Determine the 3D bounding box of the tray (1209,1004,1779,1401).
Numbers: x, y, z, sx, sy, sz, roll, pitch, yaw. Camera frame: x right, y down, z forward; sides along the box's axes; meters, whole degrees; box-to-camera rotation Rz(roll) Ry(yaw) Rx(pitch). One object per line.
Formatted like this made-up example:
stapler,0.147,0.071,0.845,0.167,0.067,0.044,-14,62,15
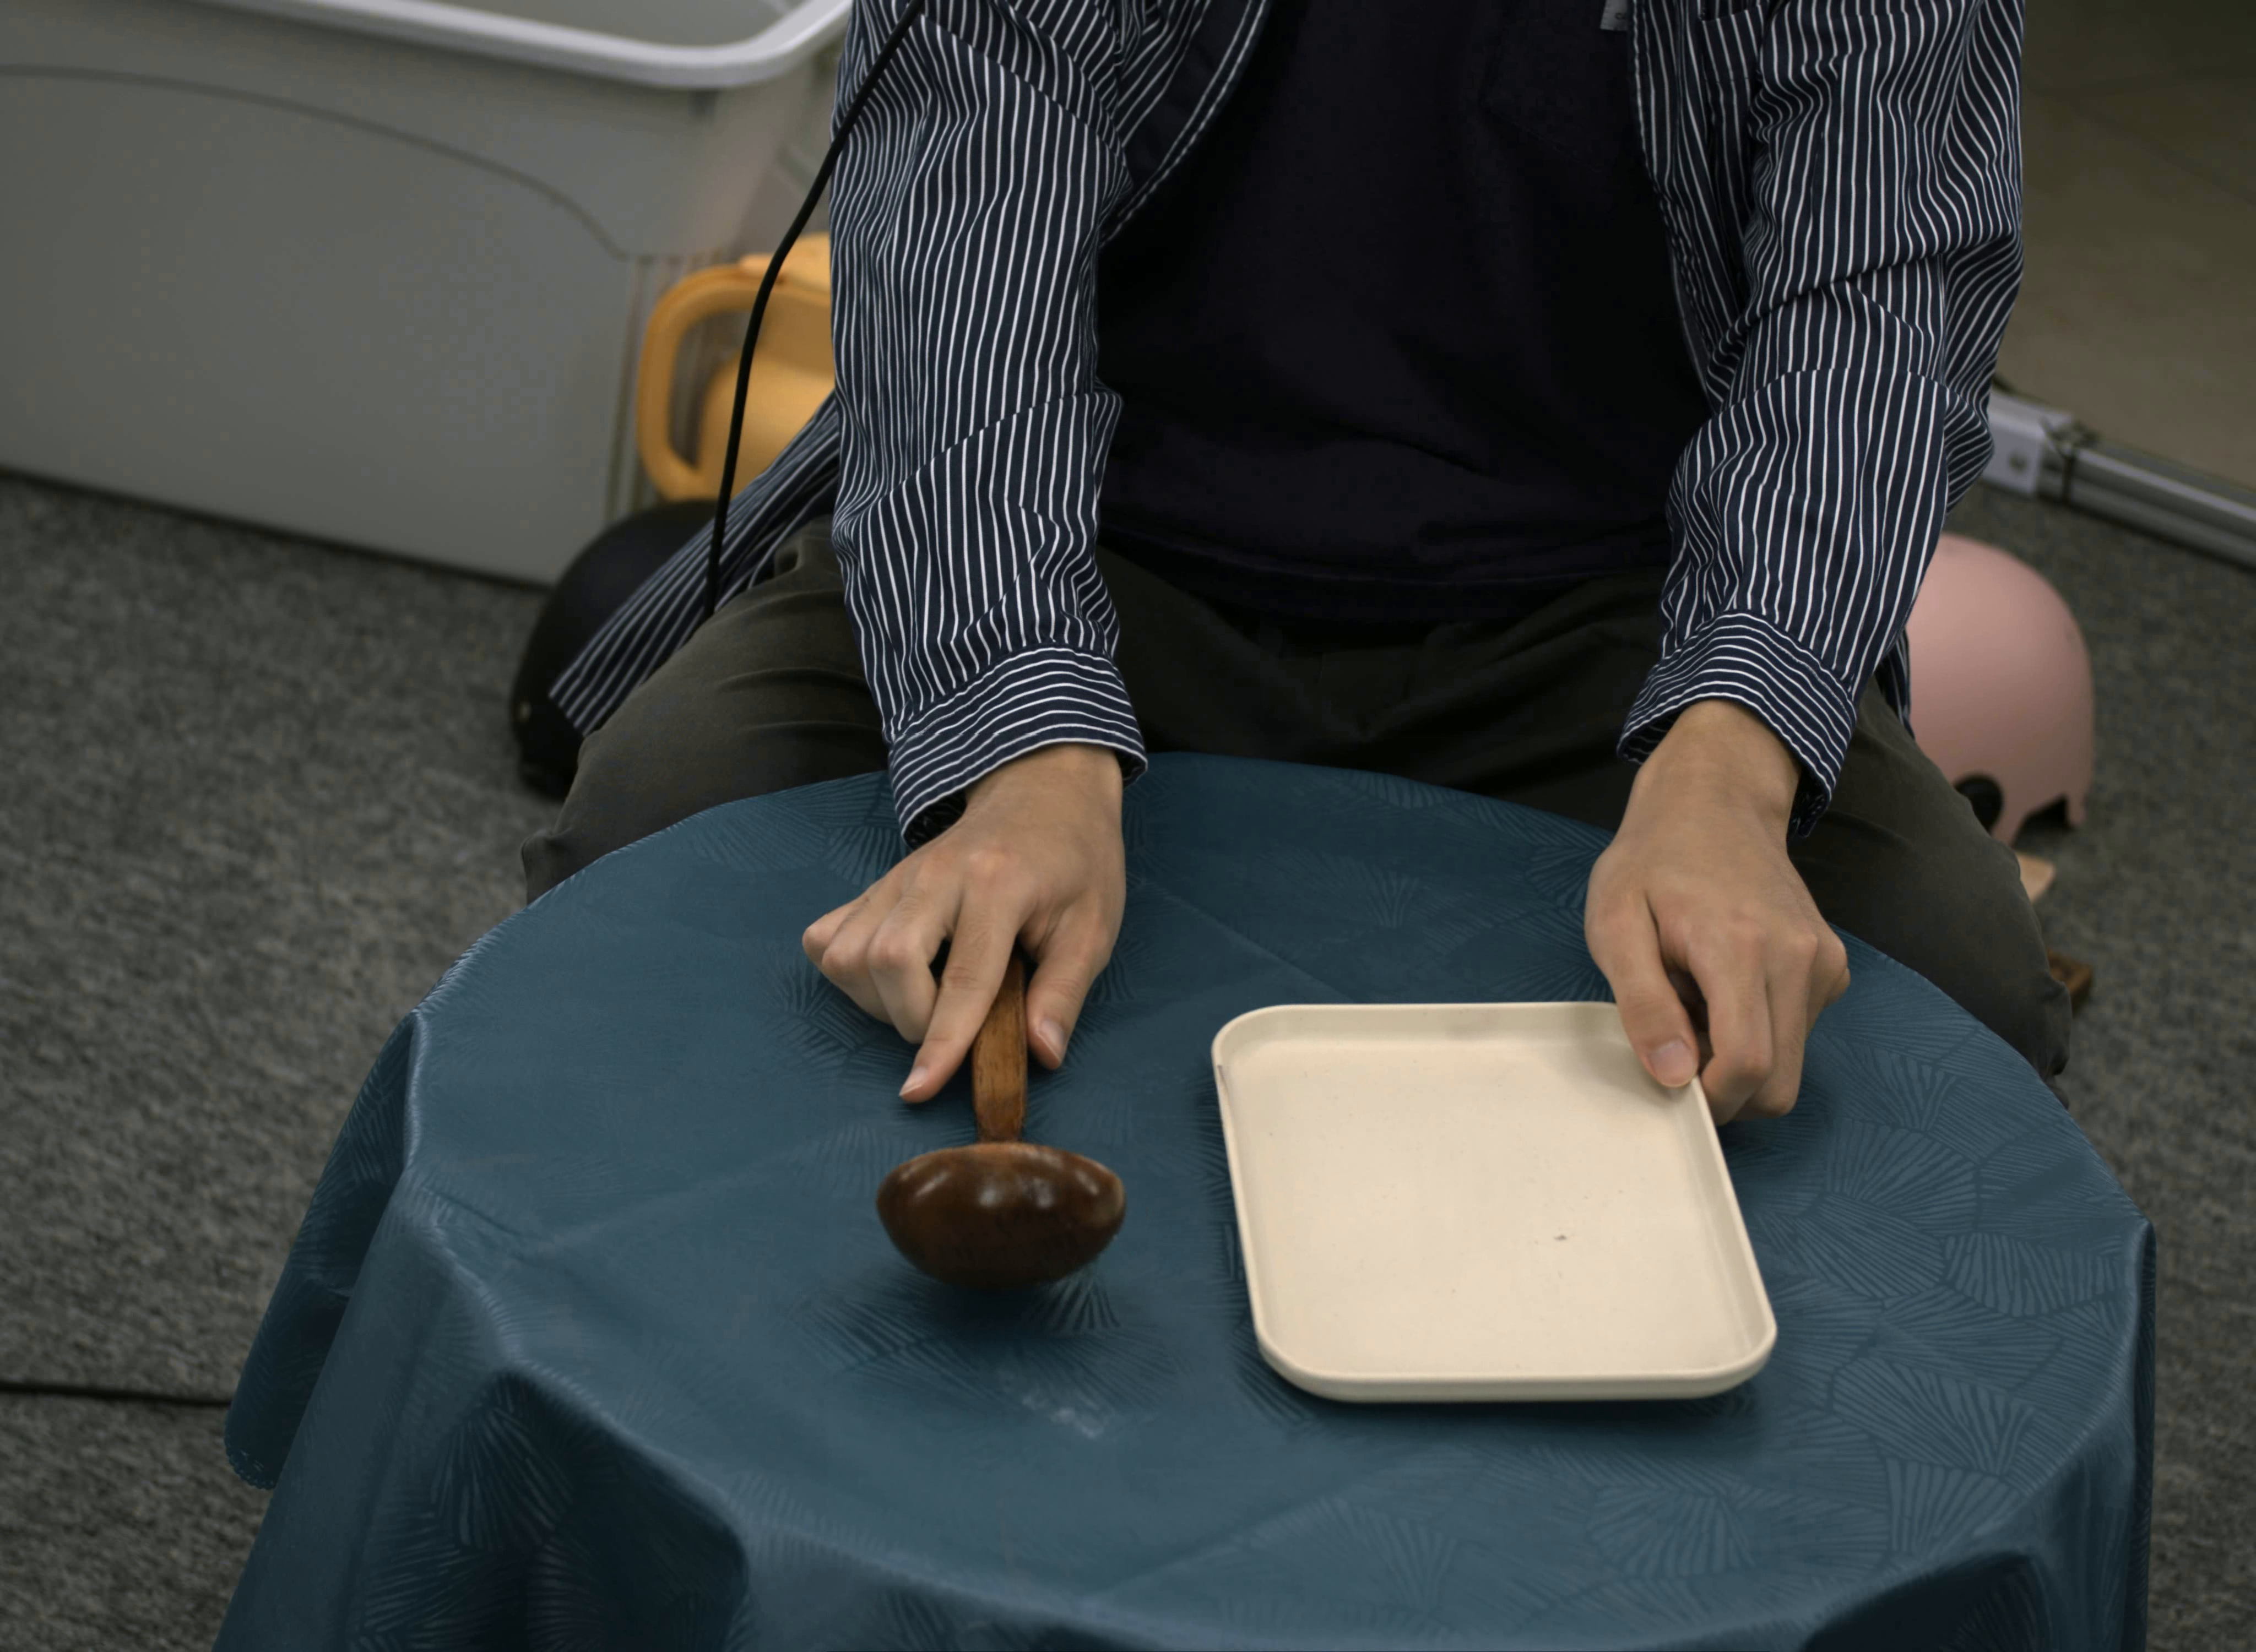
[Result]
tray,0.119,0.125,1.790,0.170,0.017,0.241,0,27,-4

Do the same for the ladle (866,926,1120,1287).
ladle,-0.043,0.074,1.801,0.081,0.076,0.276,6,27,-3
